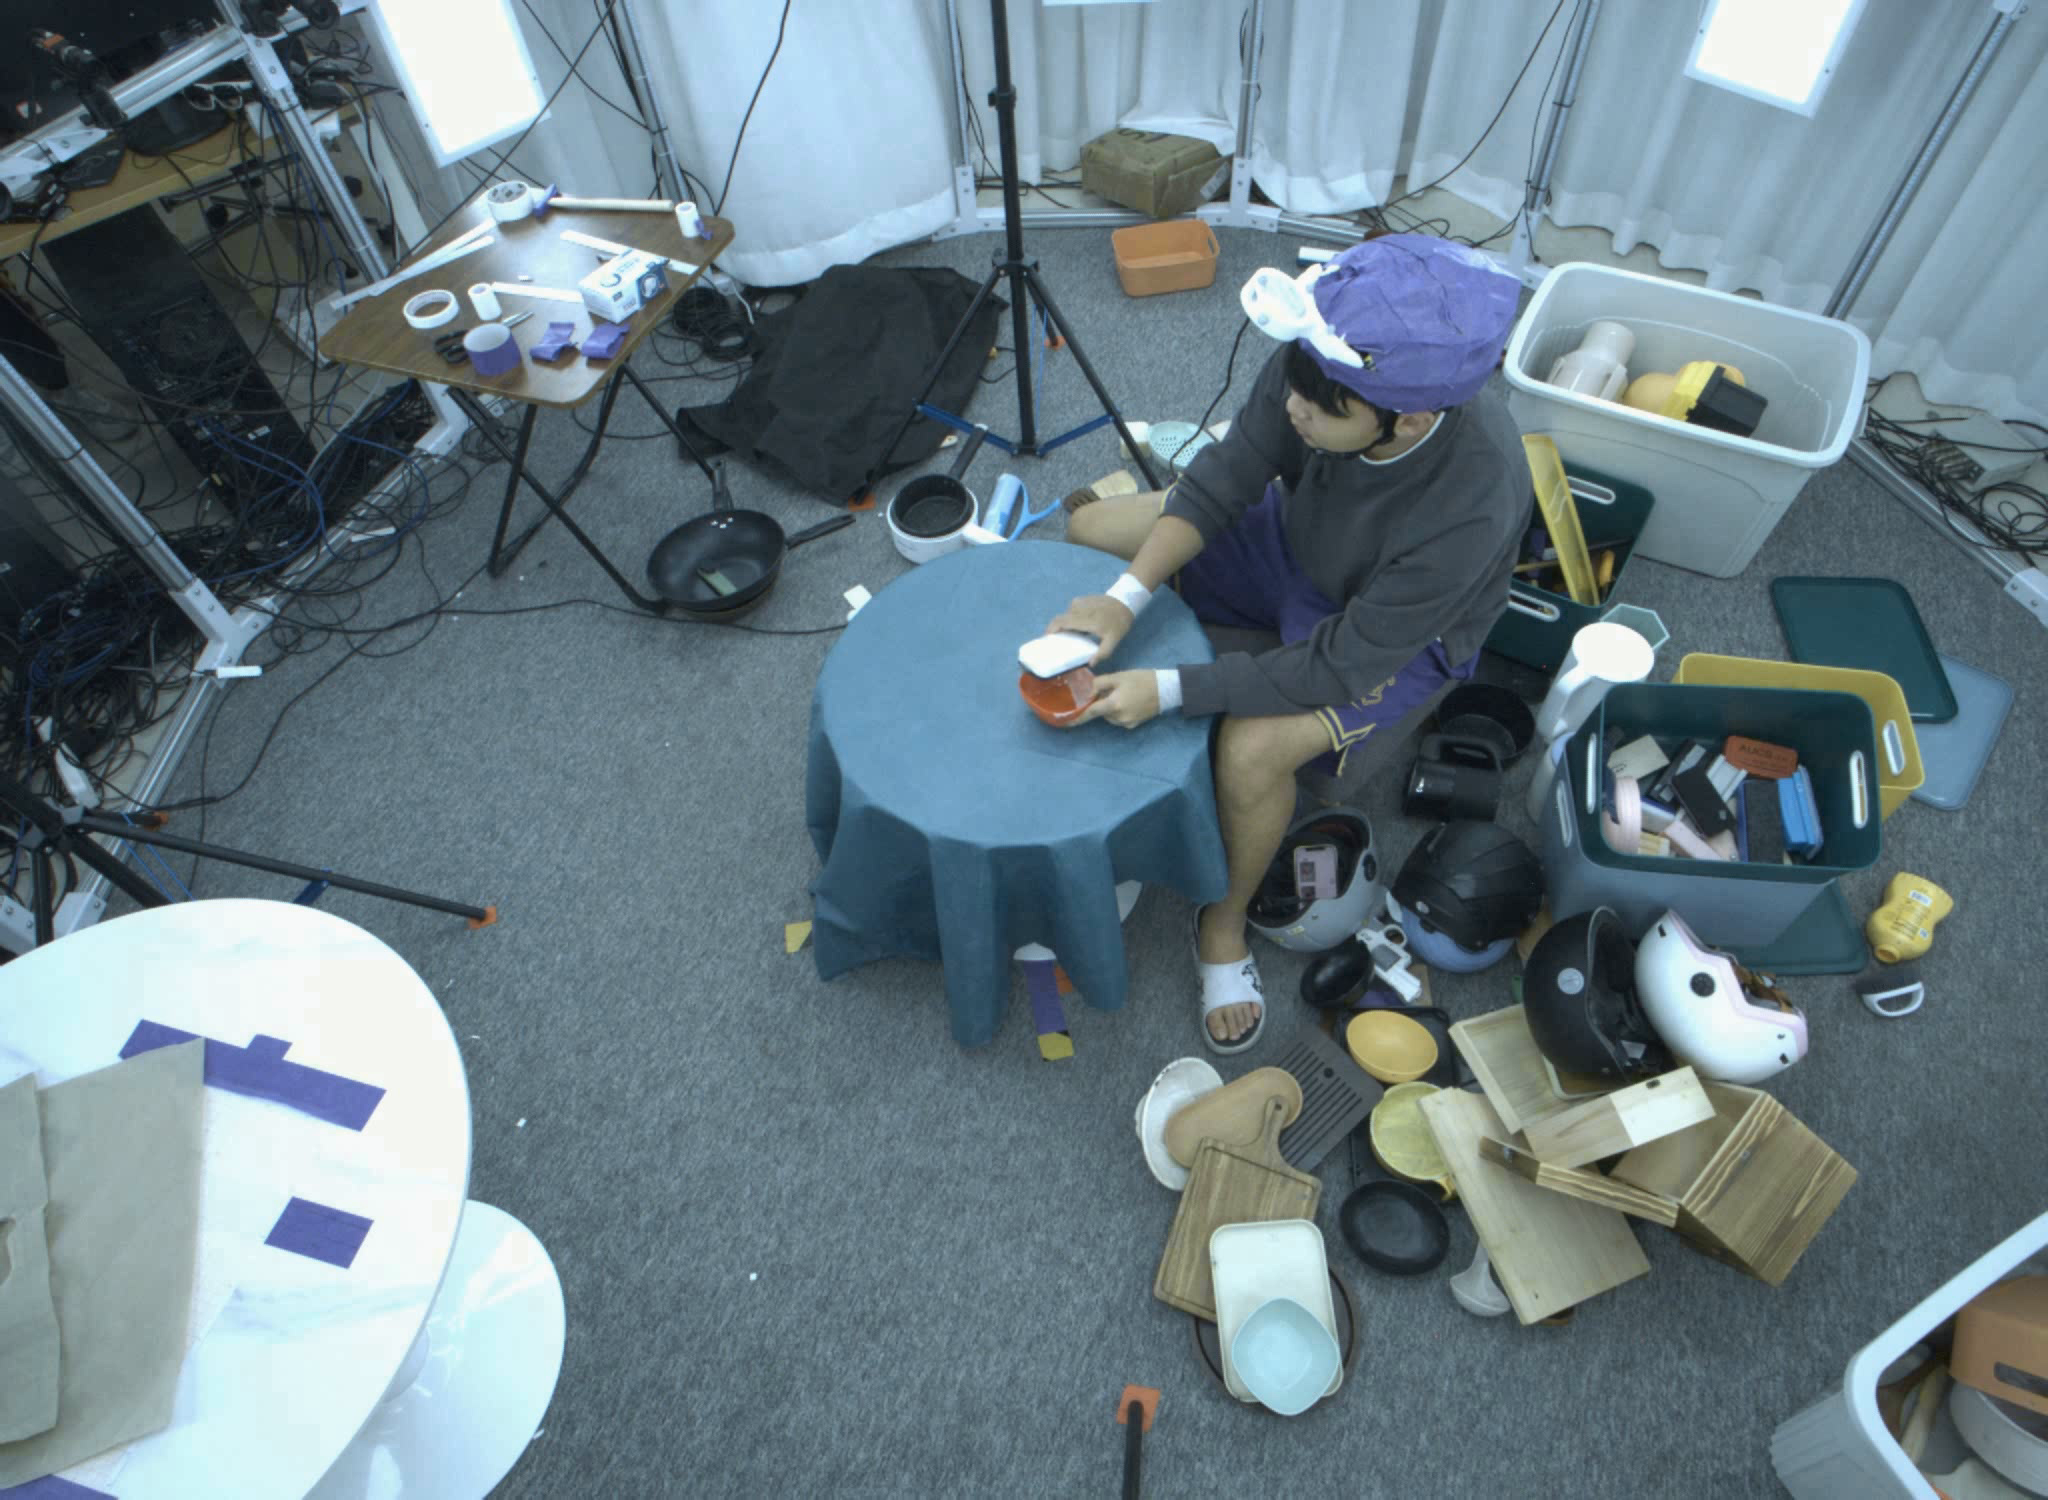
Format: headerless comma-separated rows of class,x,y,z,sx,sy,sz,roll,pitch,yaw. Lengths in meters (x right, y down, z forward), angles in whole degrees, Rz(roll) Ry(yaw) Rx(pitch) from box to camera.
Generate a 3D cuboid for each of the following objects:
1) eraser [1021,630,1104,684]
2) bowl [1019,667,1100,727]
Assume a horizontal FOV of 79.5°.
eraser,0.057,-0.138,1.795,0.133,0.034,0.062,-24,55,-39
bowl,0.051,-0.079,1.808,0.119,0.052,0.117,4,50,-3
